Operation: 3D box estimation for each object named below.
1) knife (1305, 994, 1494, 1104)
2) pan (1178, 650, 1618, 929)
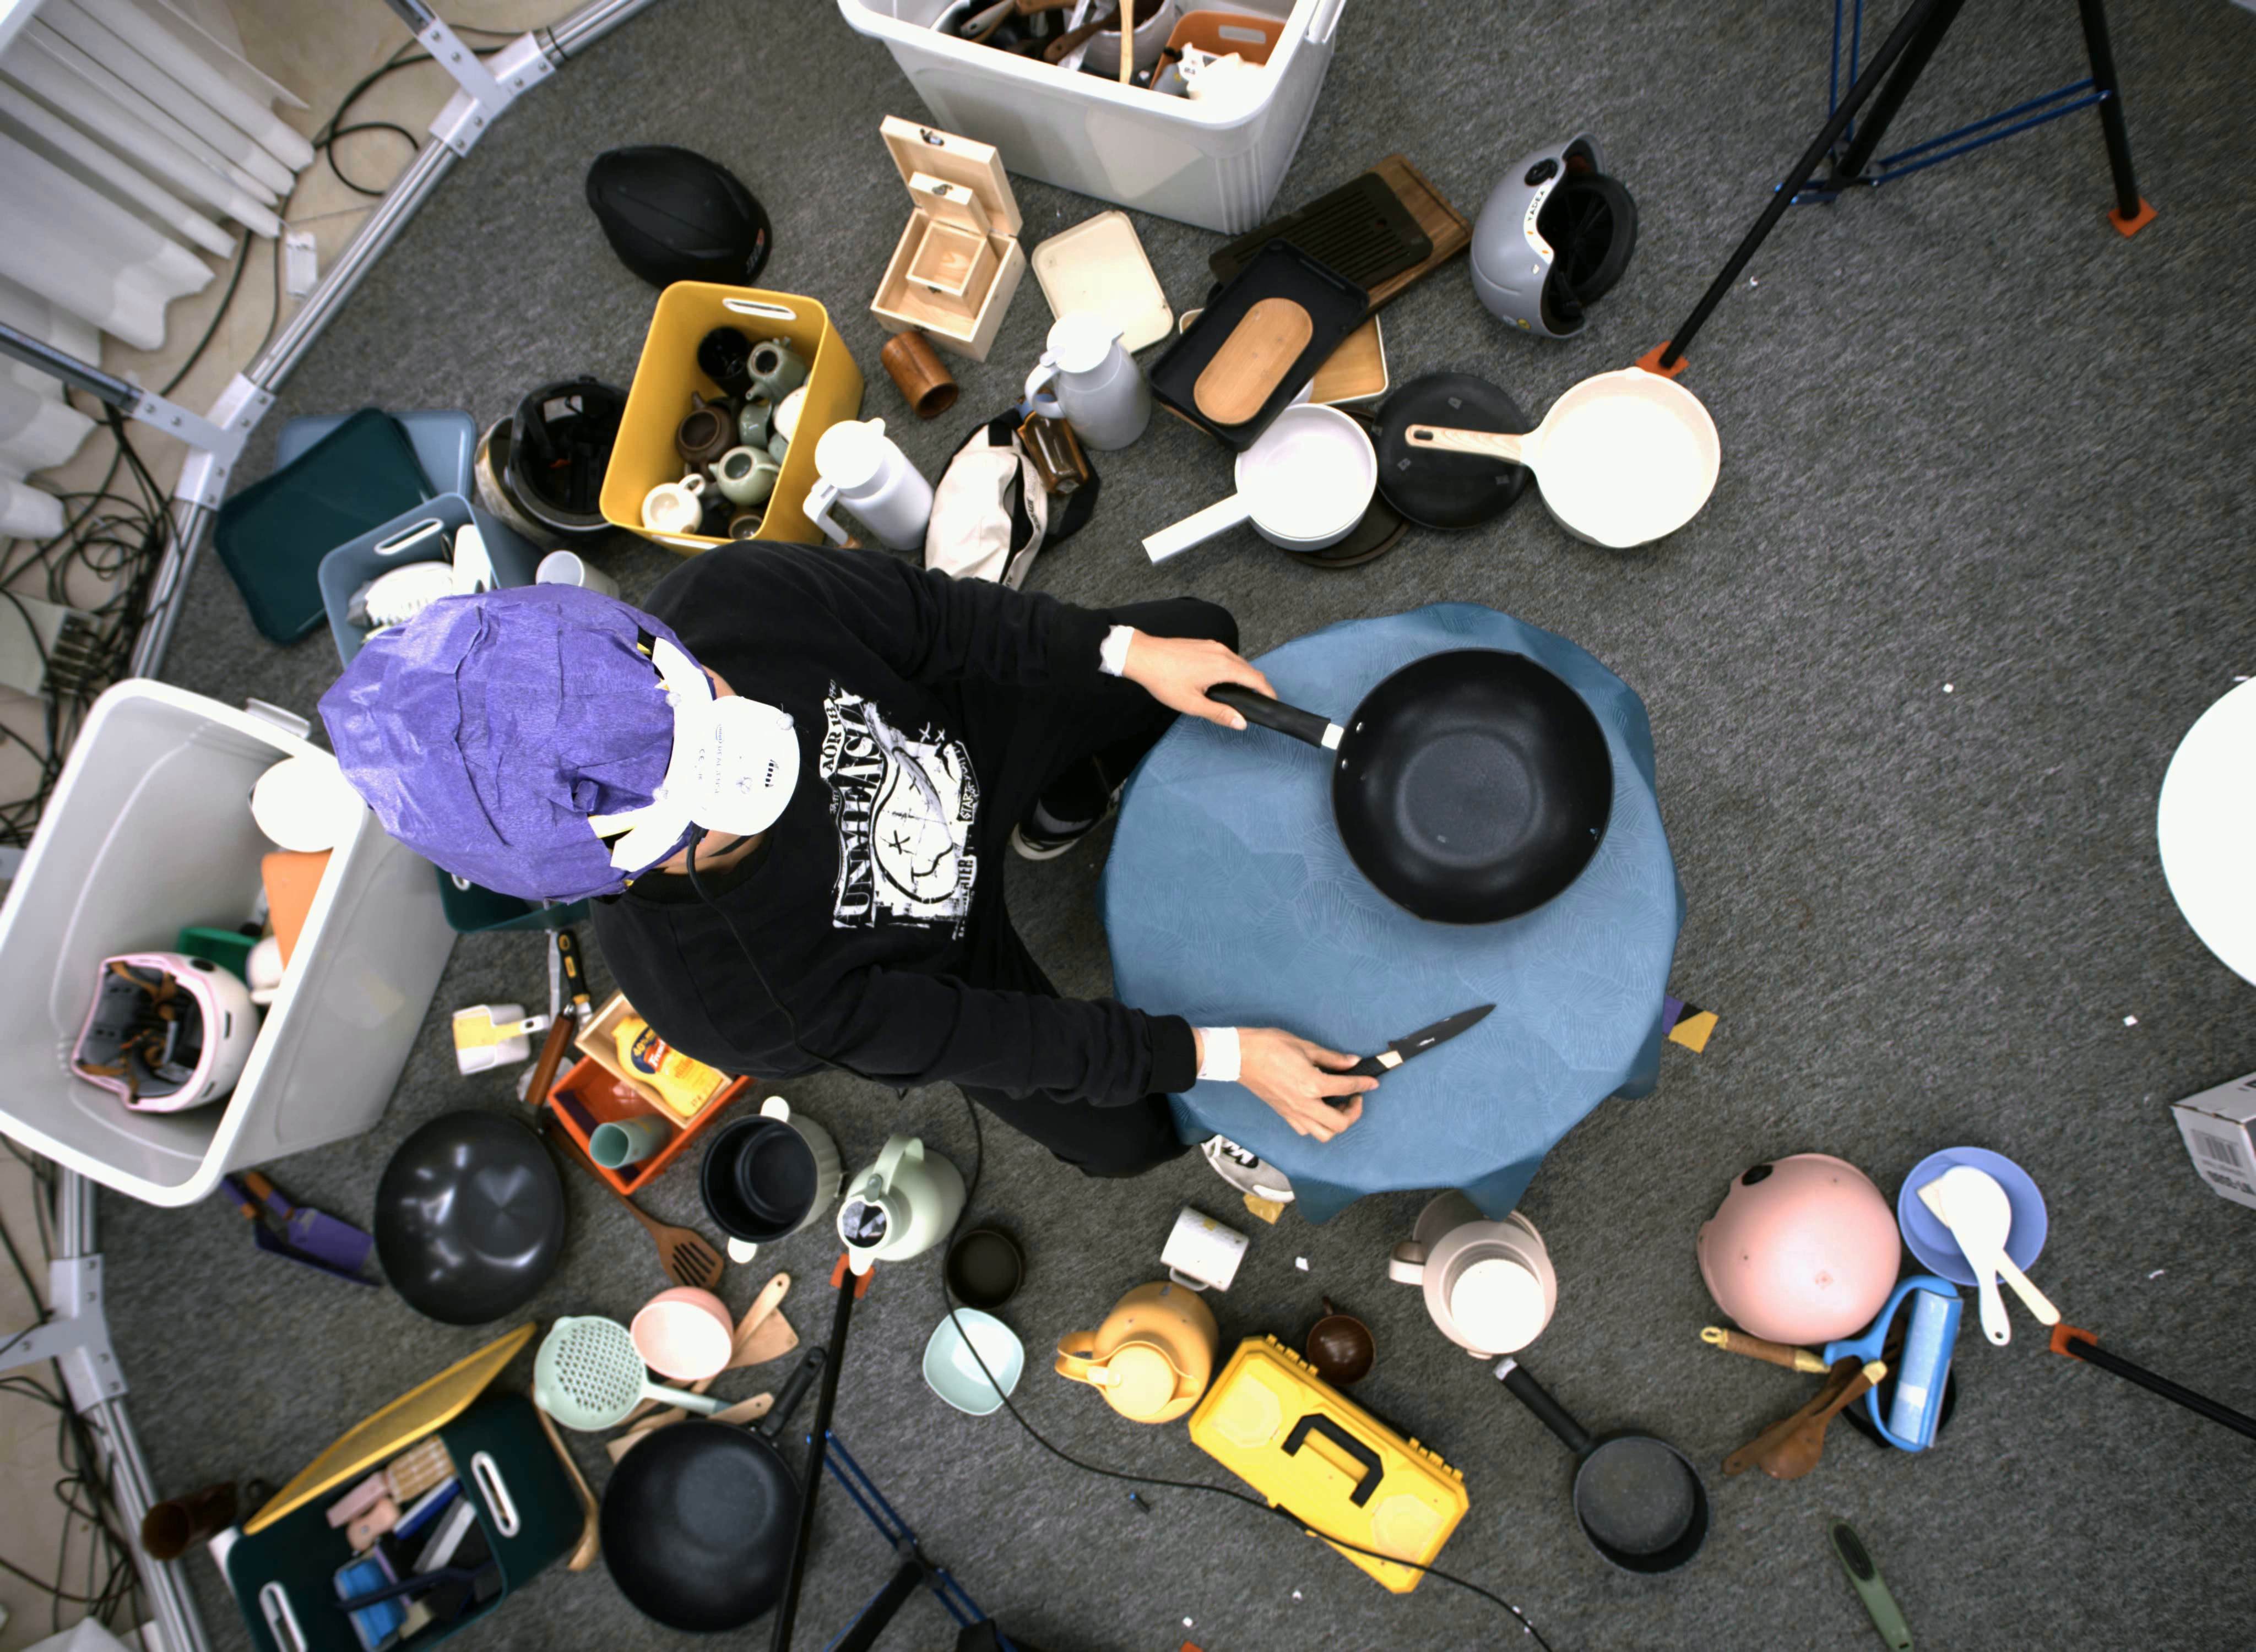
[{"bbox_3d":[0.284,0.232,1.446,0.227,0.017,0.026,-29,58,9],"label":"knife"},{"bbox_3d":[0.269,-0.068,1.428,0.463,0.087,0.288,22,91,14],"label":"pan"}]
